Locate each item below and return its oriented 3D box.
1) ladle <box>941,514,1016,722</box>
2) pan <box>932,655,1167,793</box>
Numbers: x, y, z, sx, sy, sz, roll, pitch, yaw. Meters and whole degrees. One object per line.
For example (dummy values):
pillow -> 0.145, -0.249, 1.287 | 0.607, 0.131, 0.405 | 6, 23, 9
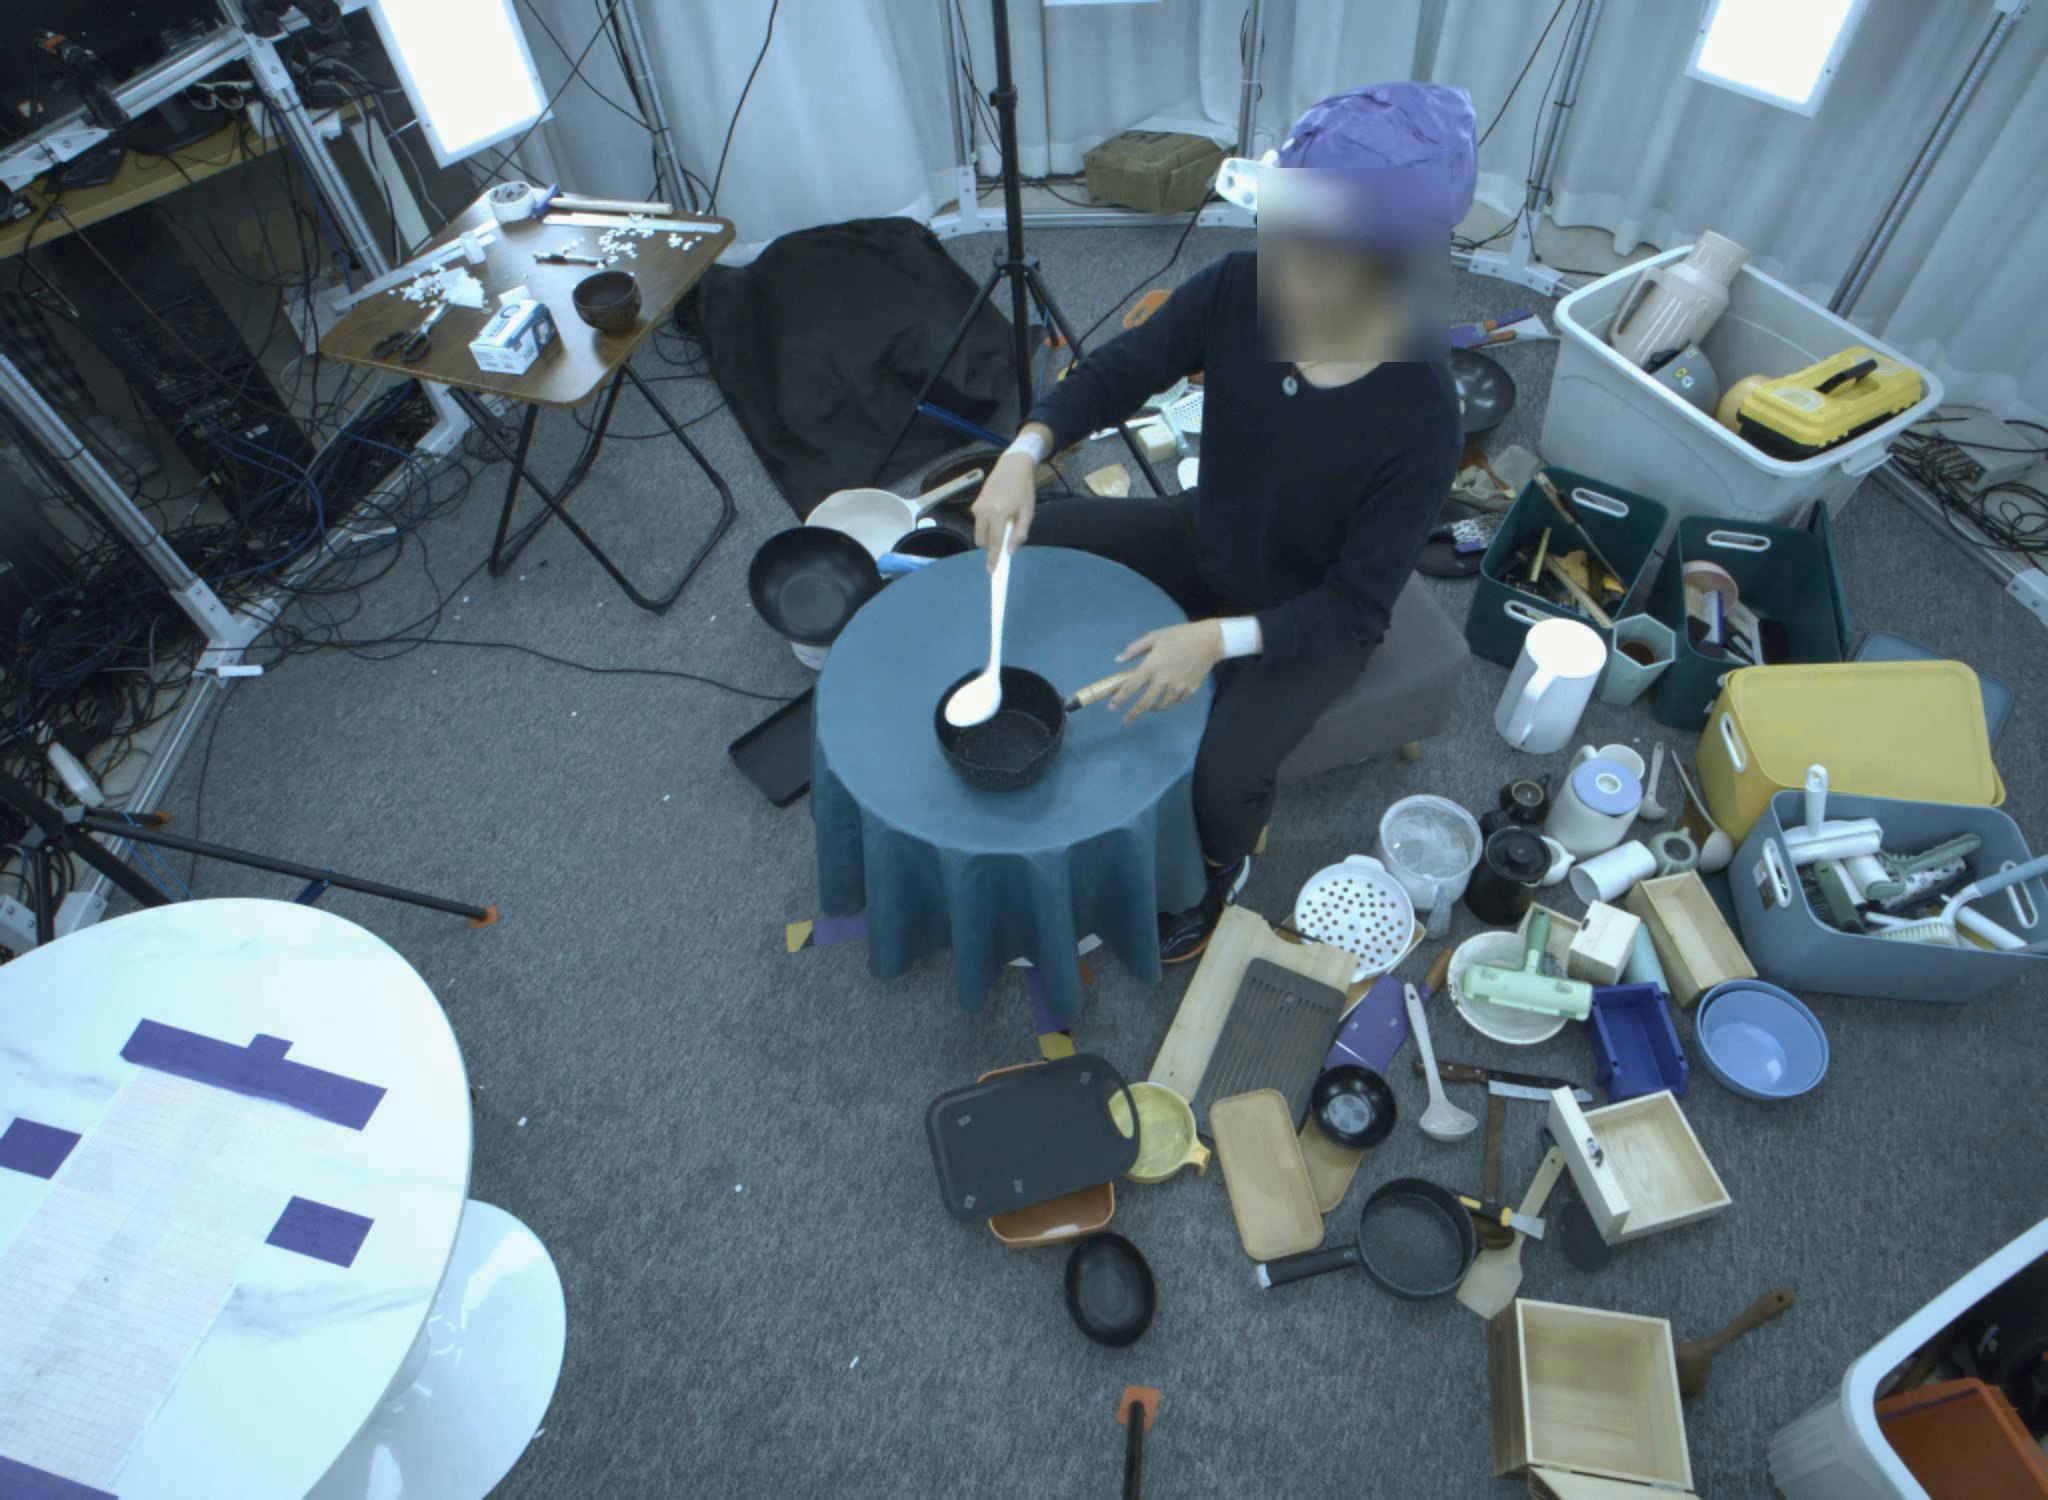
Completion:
ladle -> -0.062, -0.181, 1.684 | 0.071, 0.293, 0.088 | 2, 10, -29
pan -> 0.041, -0.053, 1.757 | 0.344, 0.109, 0.204 | -18, 55, -8
